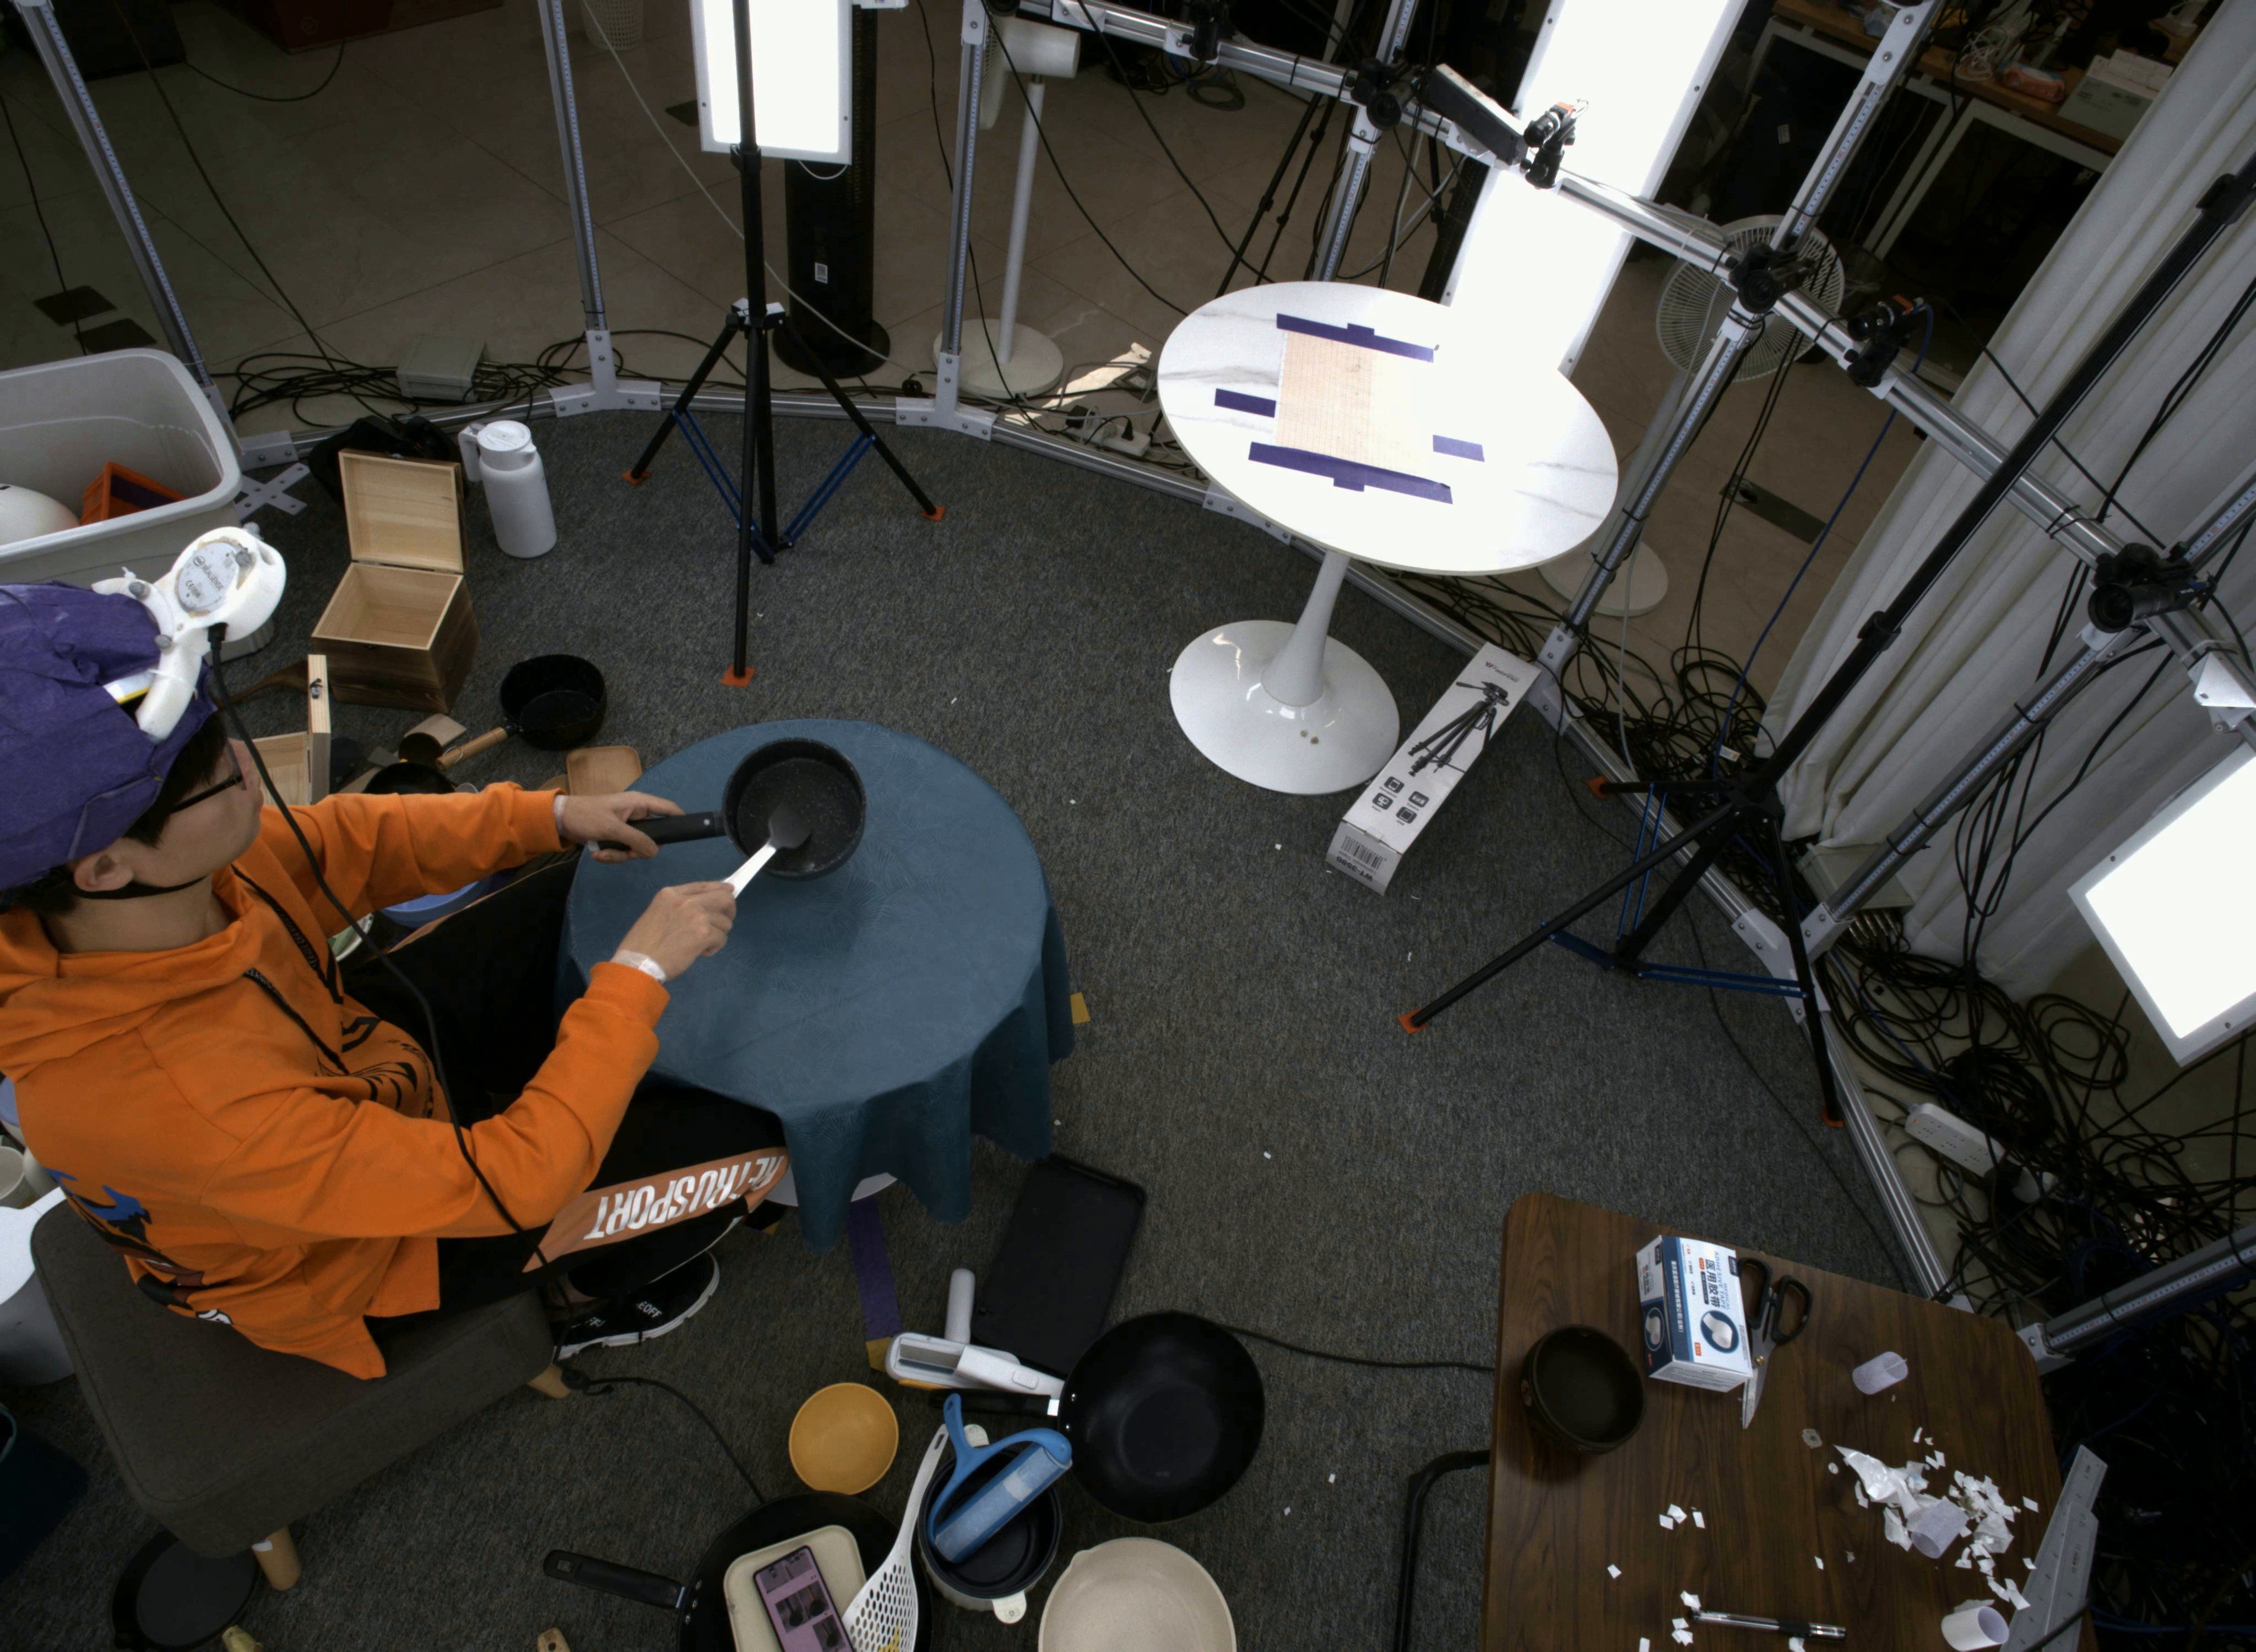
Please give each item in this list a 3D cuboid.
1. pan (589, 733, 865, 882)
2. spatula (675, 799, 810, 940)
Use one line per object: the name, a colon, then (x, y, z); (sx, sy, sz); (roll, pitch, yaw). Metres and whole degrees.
pan: (-0.482, -0.008, 1.559); (0.328, 0.086, 0.172); (-8, 80, -14)
spatula: (-0.437, 0.042, 1.488); (0.059, 0.032, 0.284); (43, 28, -11)
